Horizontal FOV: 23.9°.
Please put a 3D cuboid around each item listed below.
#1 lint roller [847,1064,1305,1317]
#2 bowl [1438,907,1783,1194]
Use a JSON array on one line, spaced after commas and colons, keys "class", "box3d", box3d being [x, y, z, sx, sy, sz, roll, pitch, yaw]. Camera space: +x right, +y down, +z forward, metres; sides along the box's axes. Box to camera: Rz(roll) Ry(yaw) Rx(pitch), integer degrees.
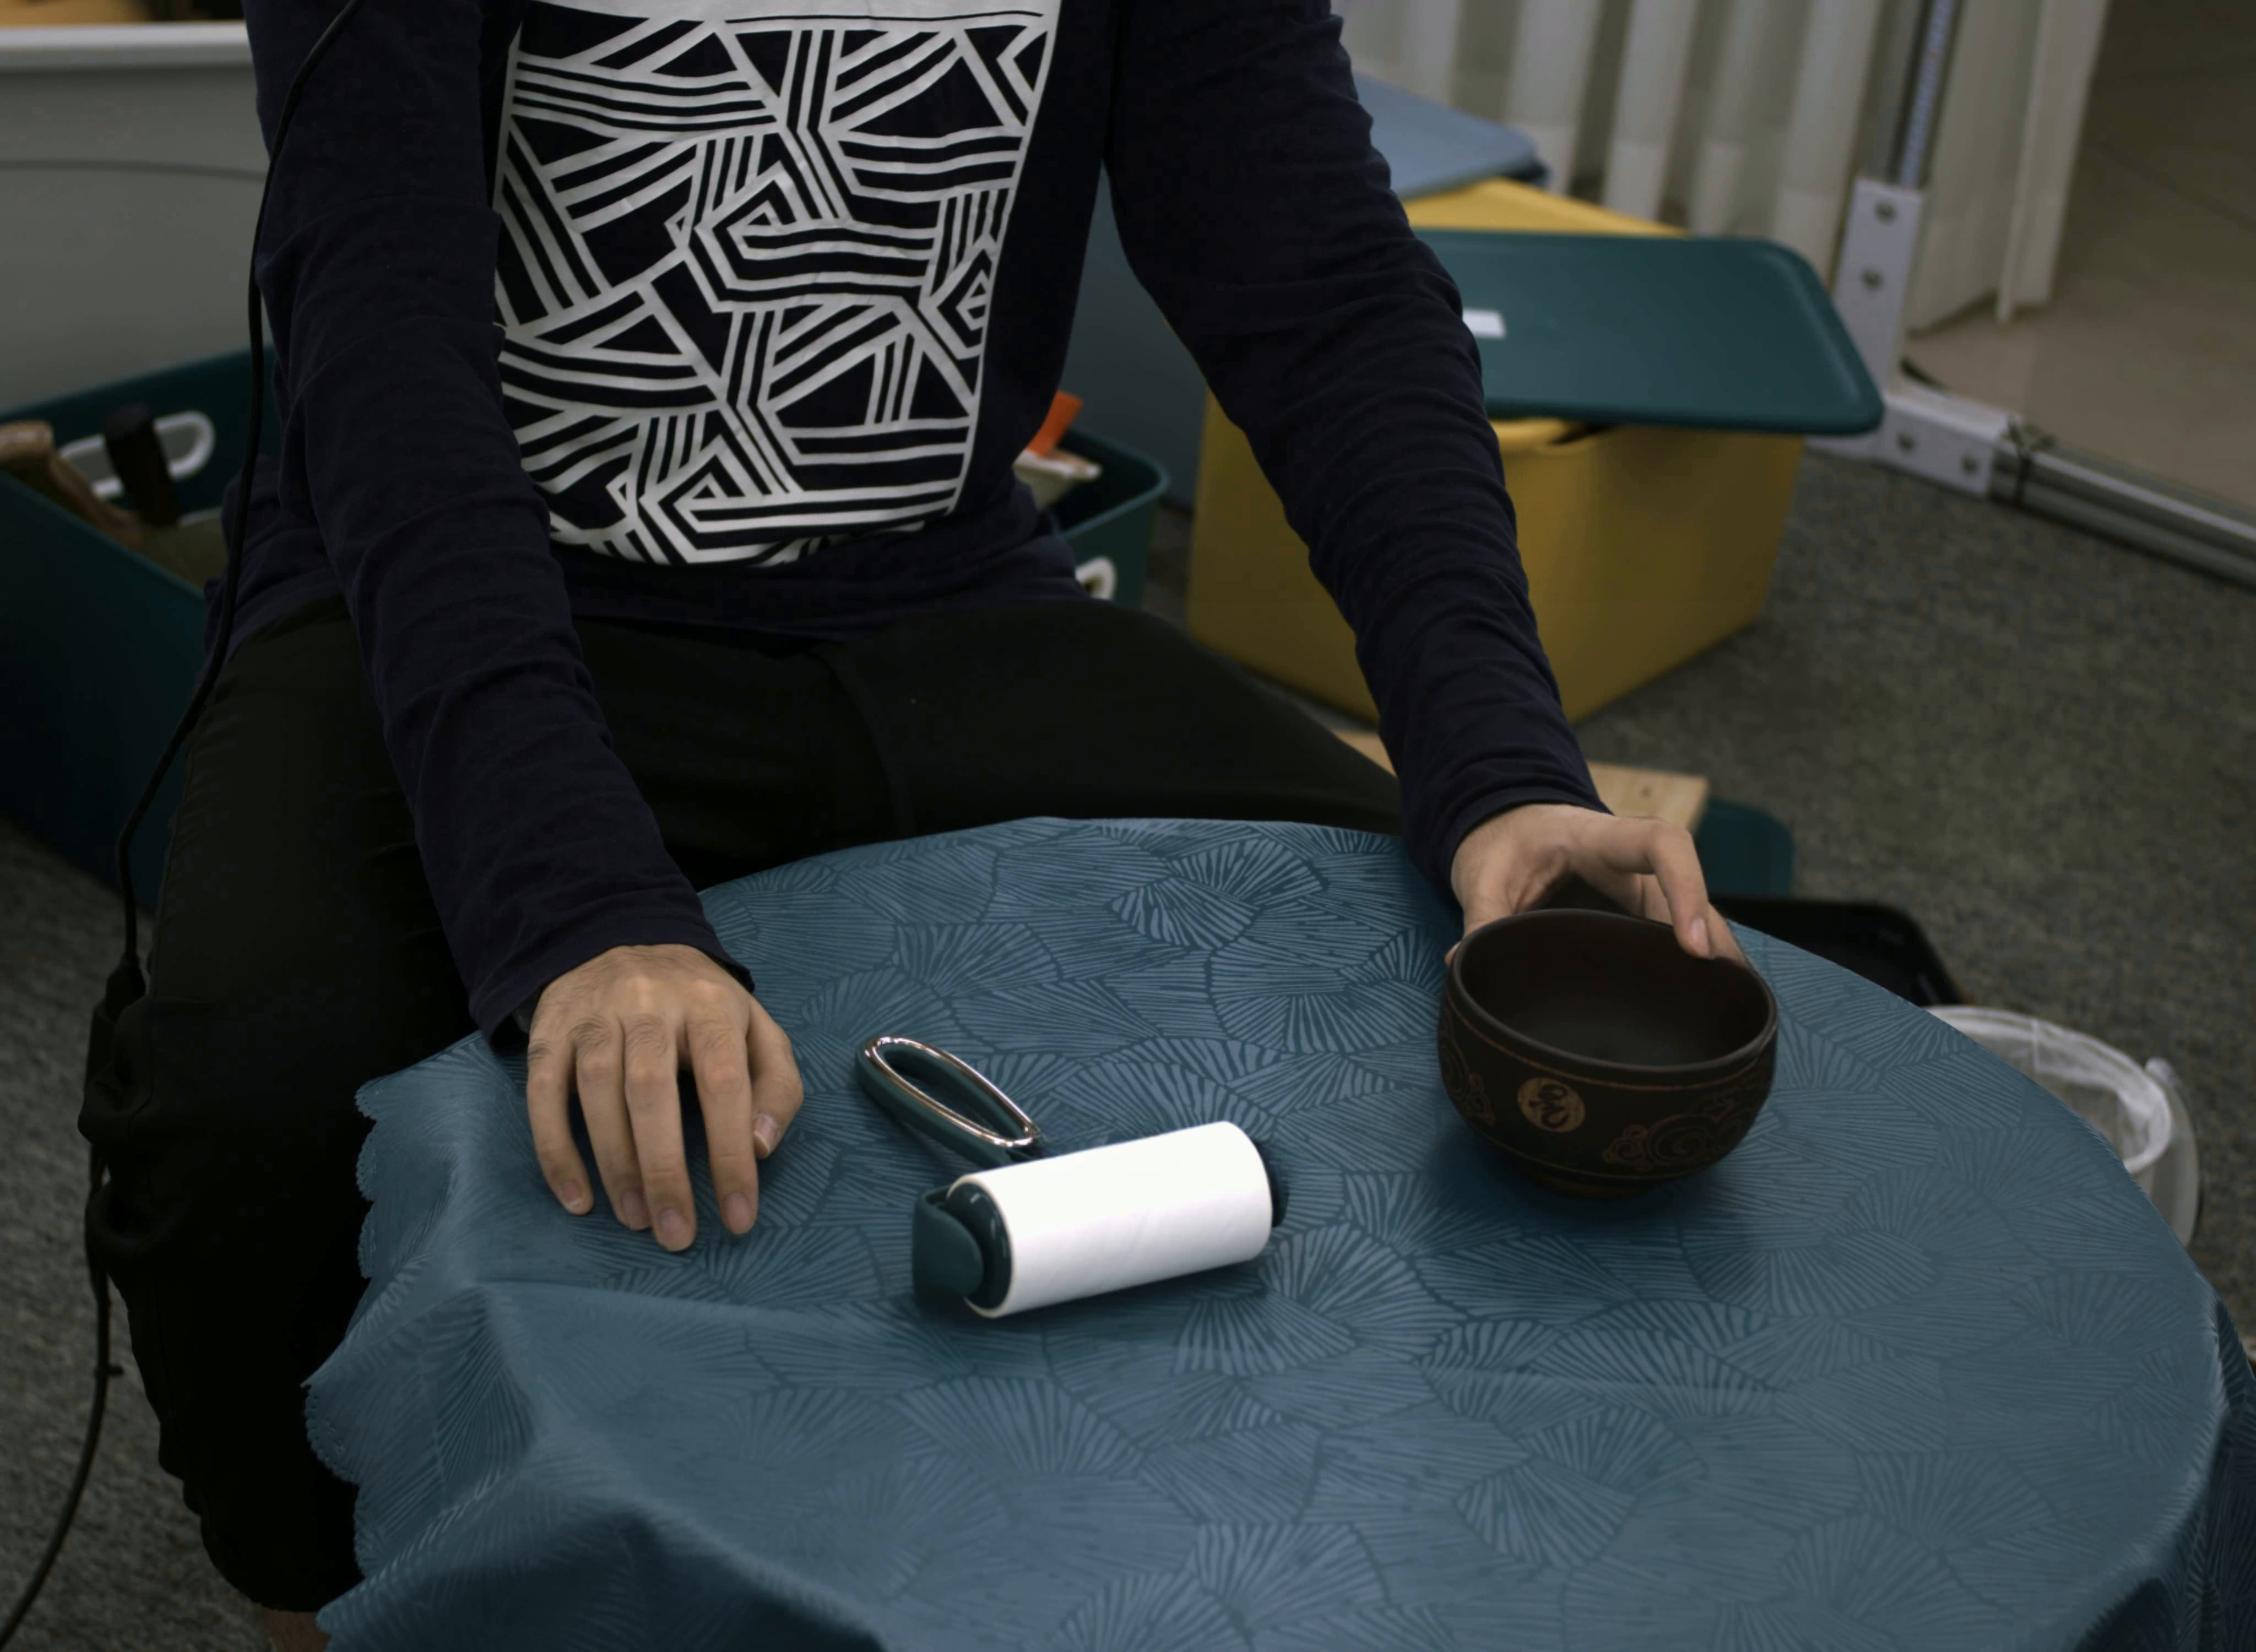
[{"class": "lint roller", "box3d": [-0.043, 0.102, 1.794, 0.133, 0.048, 0.182, -10, 29, -30]}, {"class": "bowl", "box3d": [0.165, 0.084, 1.841, 0.117, 0.069, 0.119, 3, 26, -2]}]
